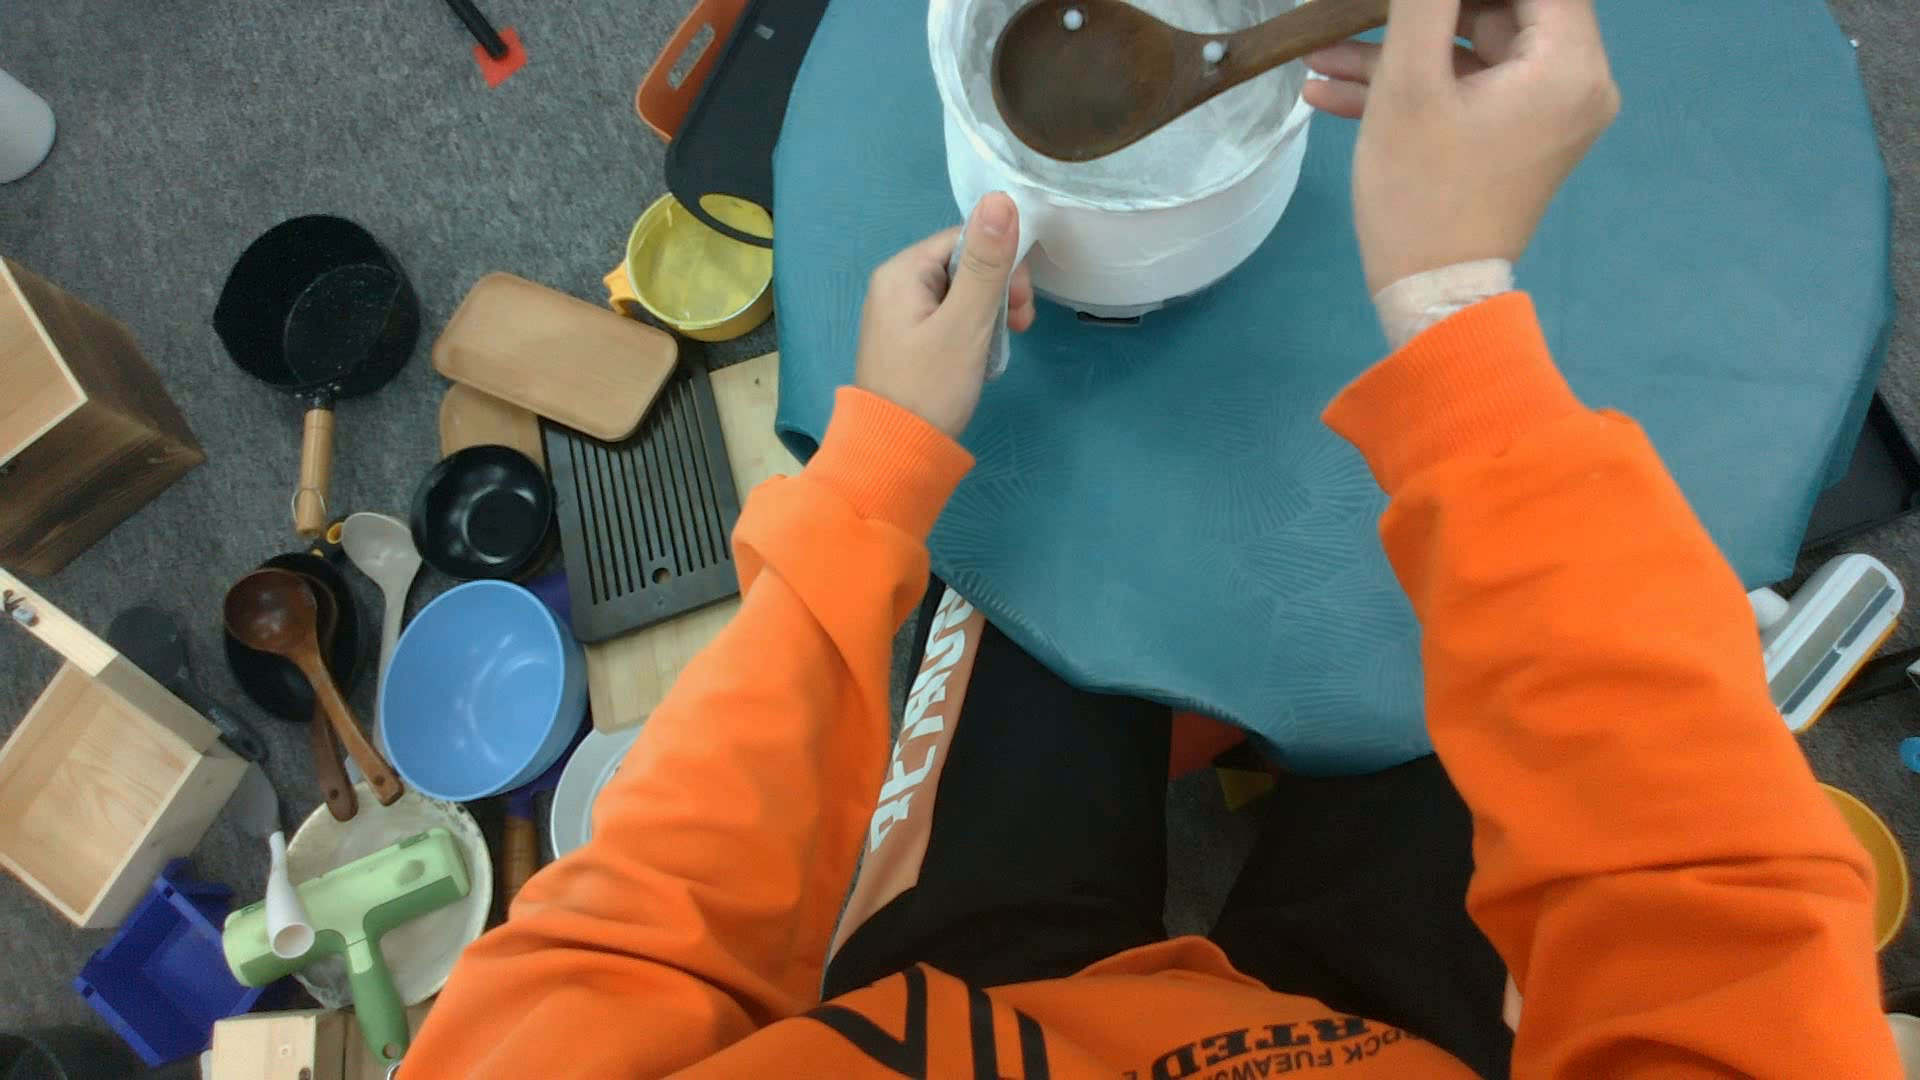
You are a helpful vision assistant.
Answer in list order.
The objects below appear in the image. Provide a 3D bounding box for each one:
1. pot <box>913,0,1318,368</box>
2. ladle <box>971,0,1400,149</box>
[{"bbox_3d":[0.057,-0.193,0.657,0.179,0.136,0.234,31,80,11],"label":"pot"},{"bbox_3d":[0.120,-0.205,0.512,0.273,0.071,0.076,0,83,45],"label":"ladle"}]
